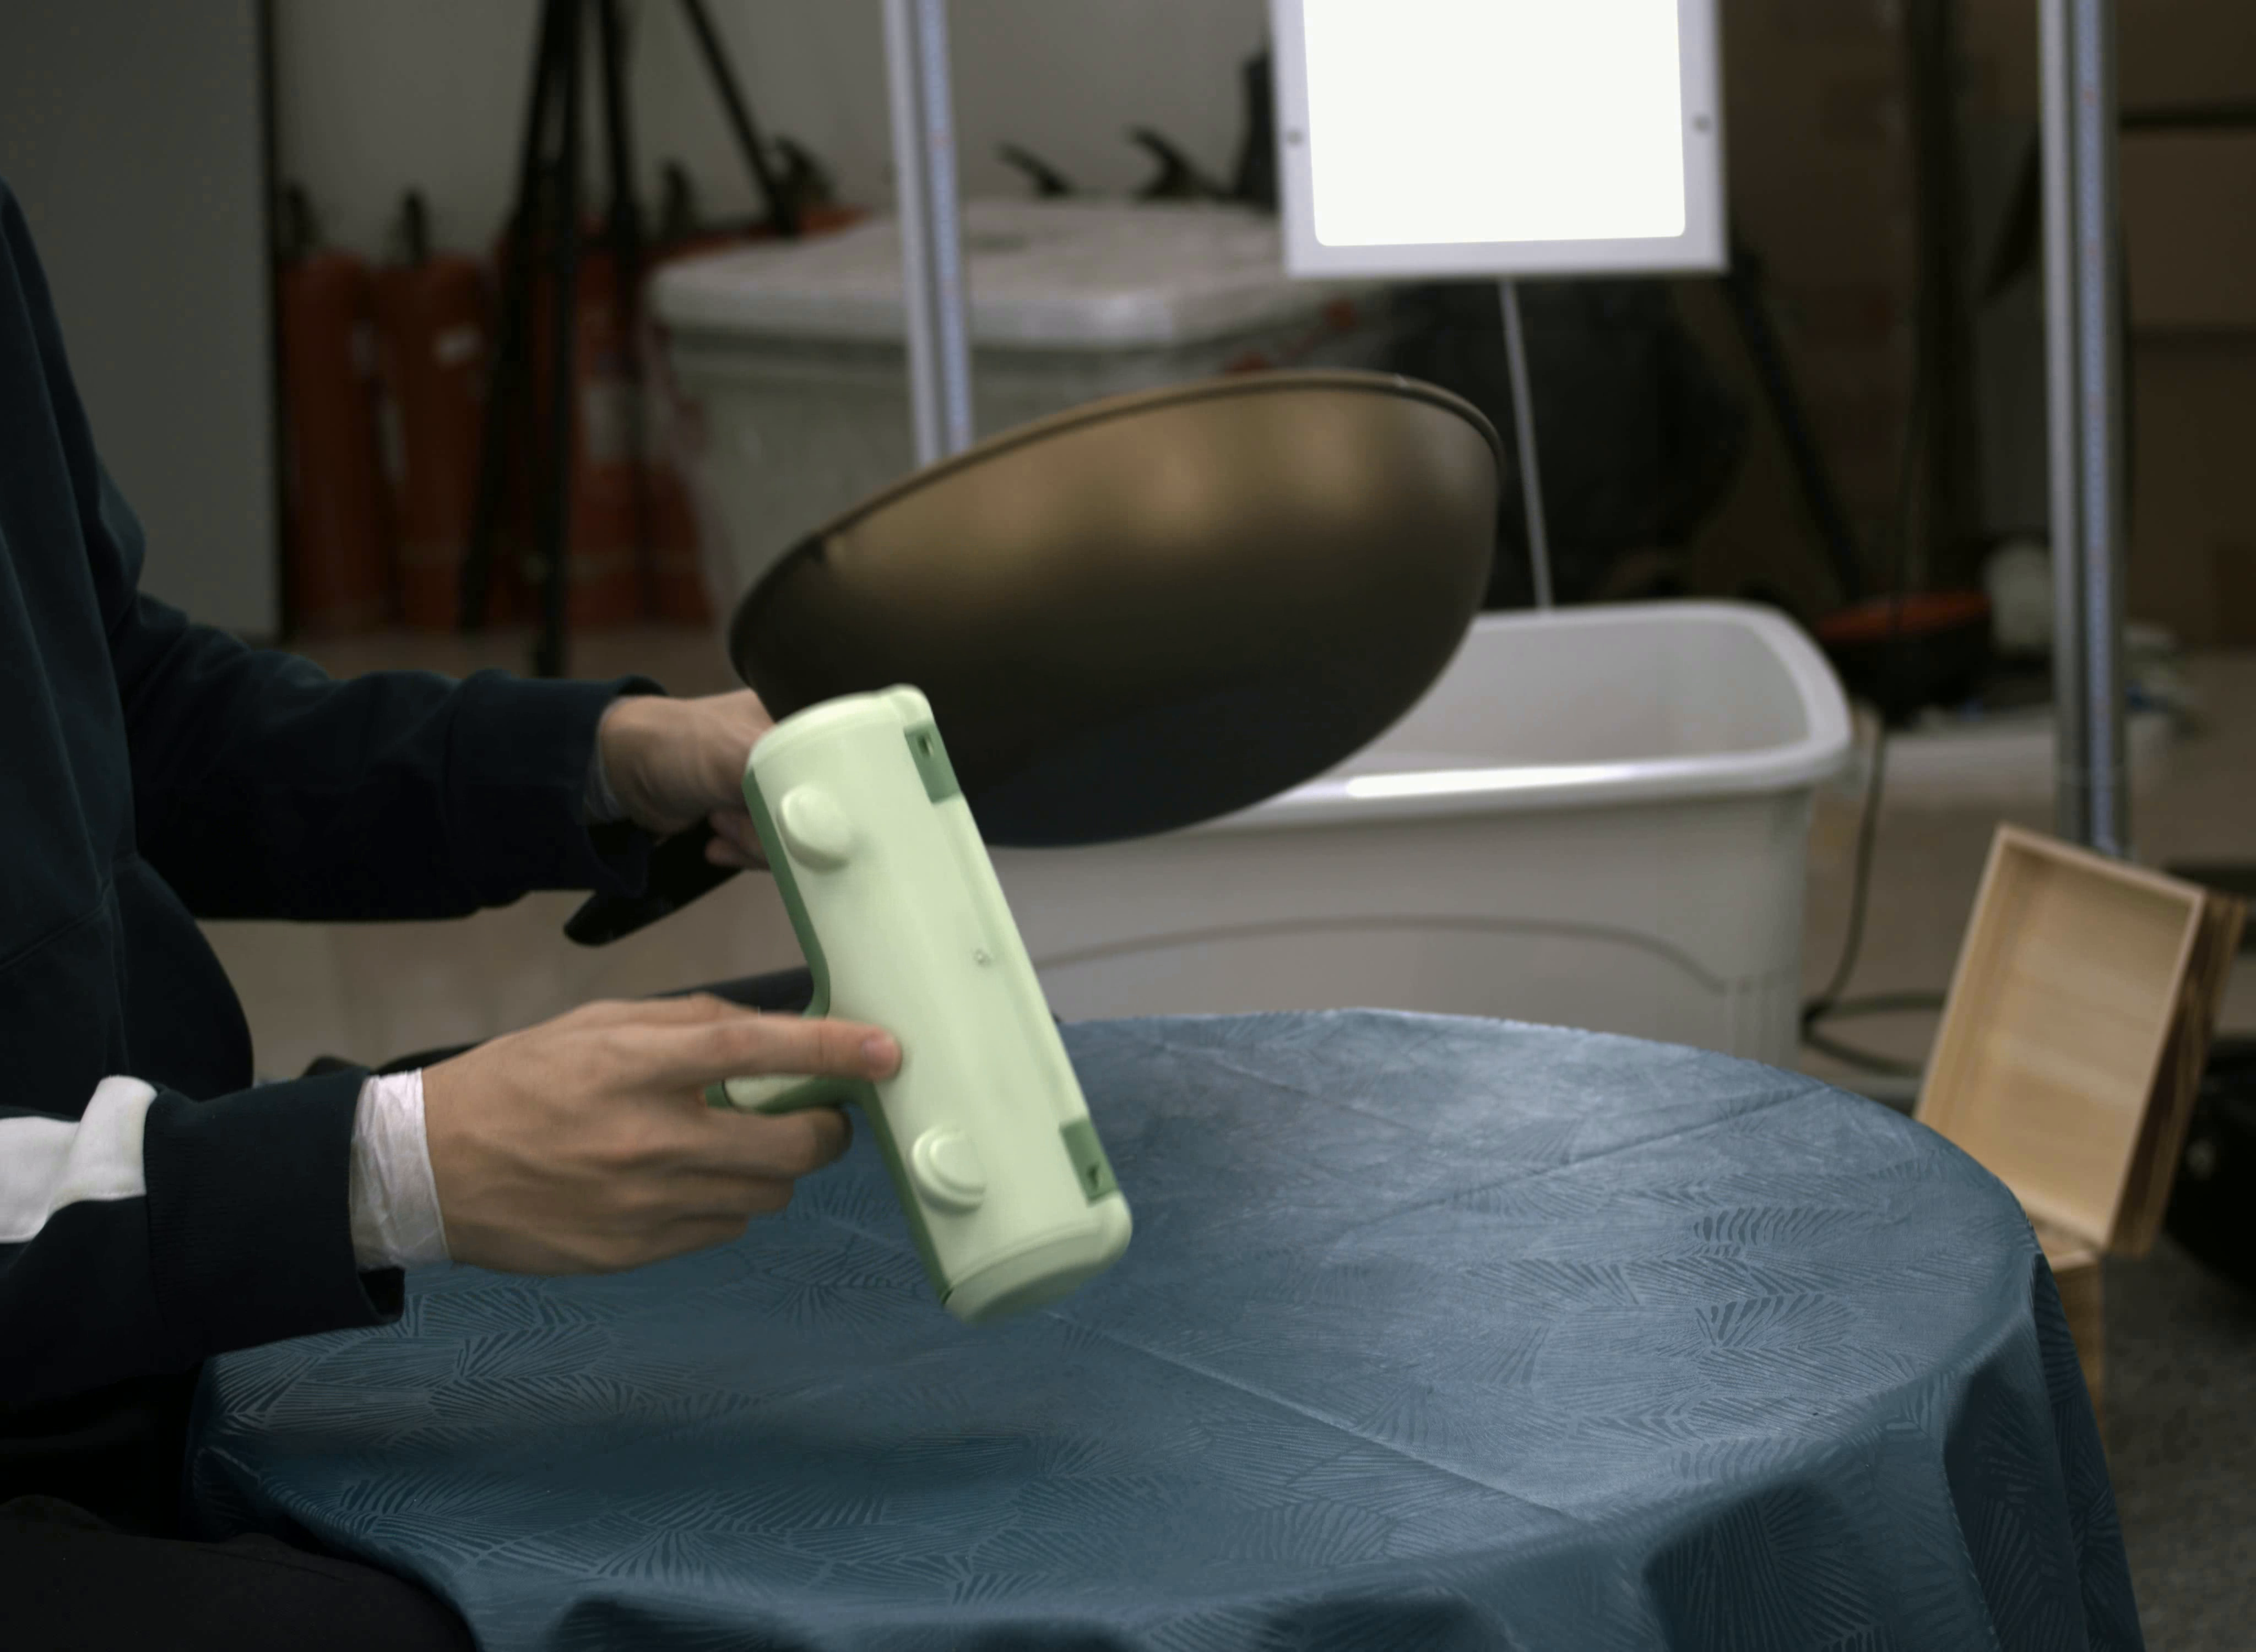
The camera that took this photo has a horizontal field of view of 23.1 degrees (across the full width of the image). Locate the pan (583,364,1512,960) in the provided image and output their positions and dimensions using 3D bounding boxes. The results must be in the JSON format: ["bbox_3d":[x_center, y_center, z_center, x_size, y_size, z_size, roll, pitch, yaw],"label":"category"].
[{"bbox_3d":[-0.051,-0.019,1.961,0.281,0.087,0.473,4,-27,-43],"label":"pan"}]

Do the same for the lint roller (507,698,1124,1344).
[{"bbox_3d":[-0.115,0.079,1.686,0.184,0.199,0.081,-23,-18,7],"label":"lint roller"}]
